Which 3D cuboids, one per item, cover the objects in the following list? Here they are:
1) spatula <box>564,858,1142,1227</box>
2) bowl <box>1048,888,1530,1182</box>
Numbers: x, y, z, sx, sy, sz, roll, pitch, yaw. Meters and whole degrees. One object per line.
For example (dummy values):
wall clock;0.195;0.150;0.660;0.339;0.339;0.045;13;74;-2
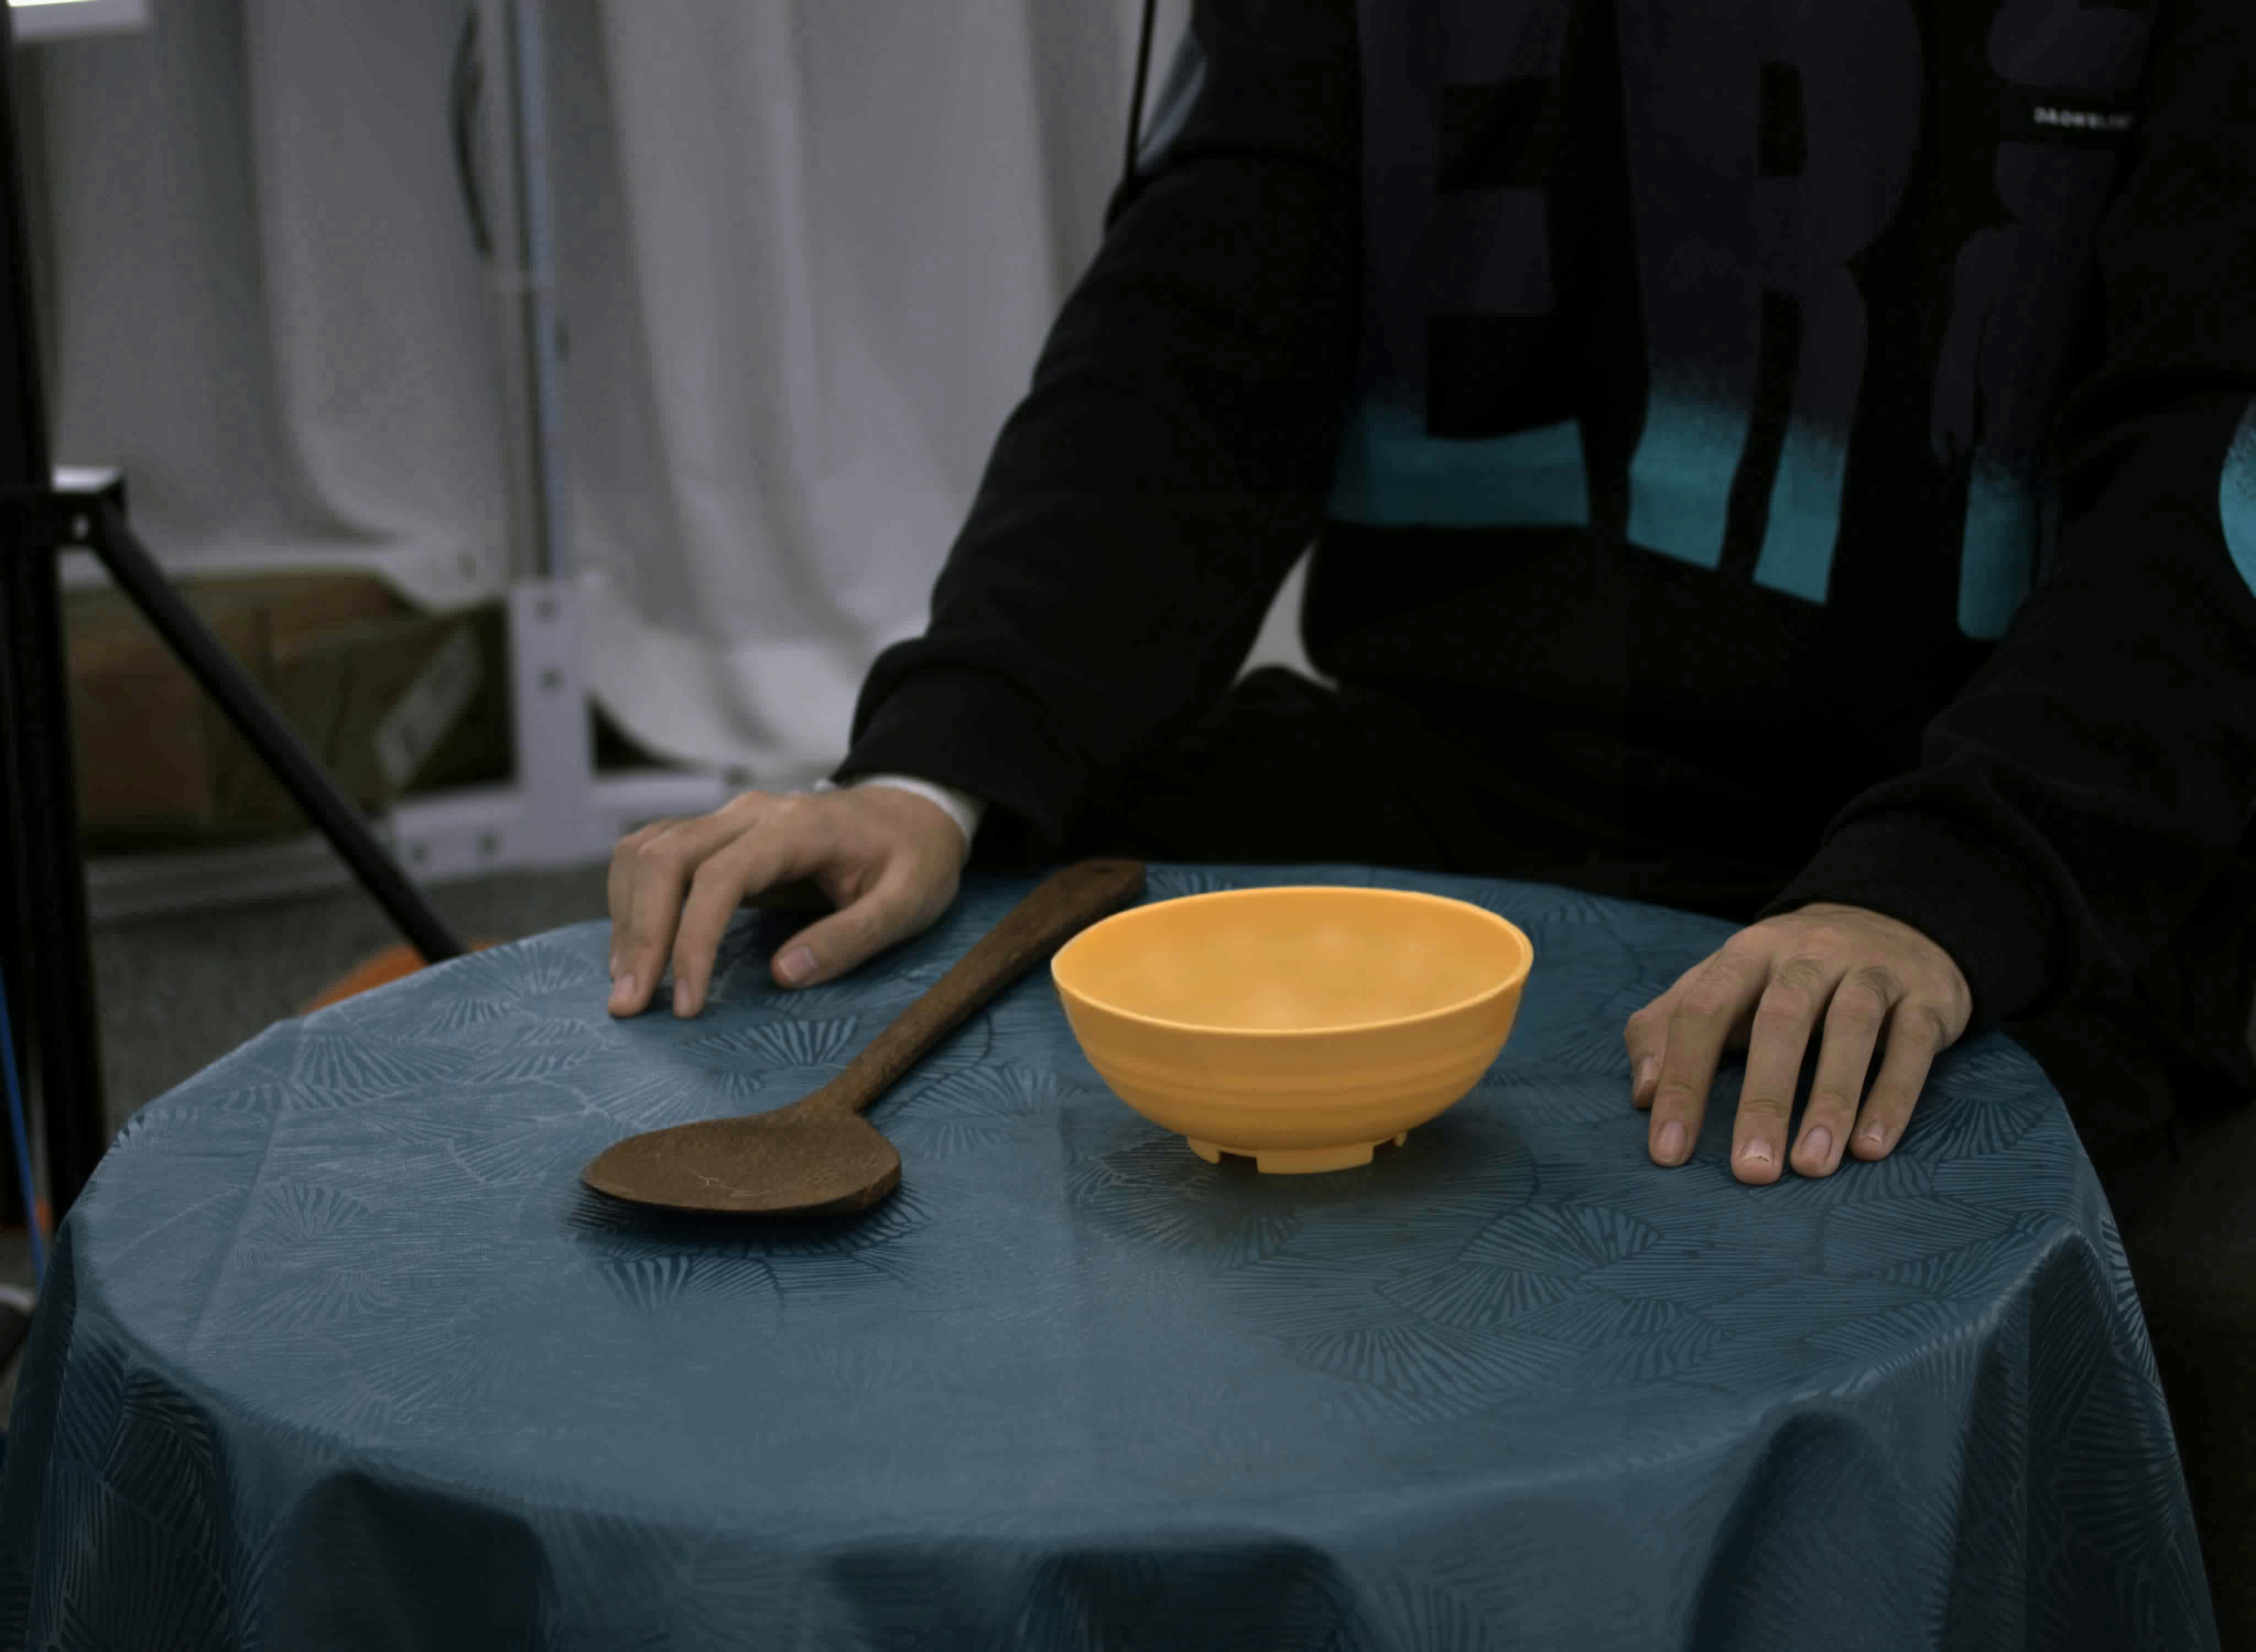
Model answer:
spatula;-0.065;0.063;1.703;0.097;0.016;0.381;4;17;19
bowl;0.048;0.068;1.591;0.144;0.060;0.146;0;16;-1
